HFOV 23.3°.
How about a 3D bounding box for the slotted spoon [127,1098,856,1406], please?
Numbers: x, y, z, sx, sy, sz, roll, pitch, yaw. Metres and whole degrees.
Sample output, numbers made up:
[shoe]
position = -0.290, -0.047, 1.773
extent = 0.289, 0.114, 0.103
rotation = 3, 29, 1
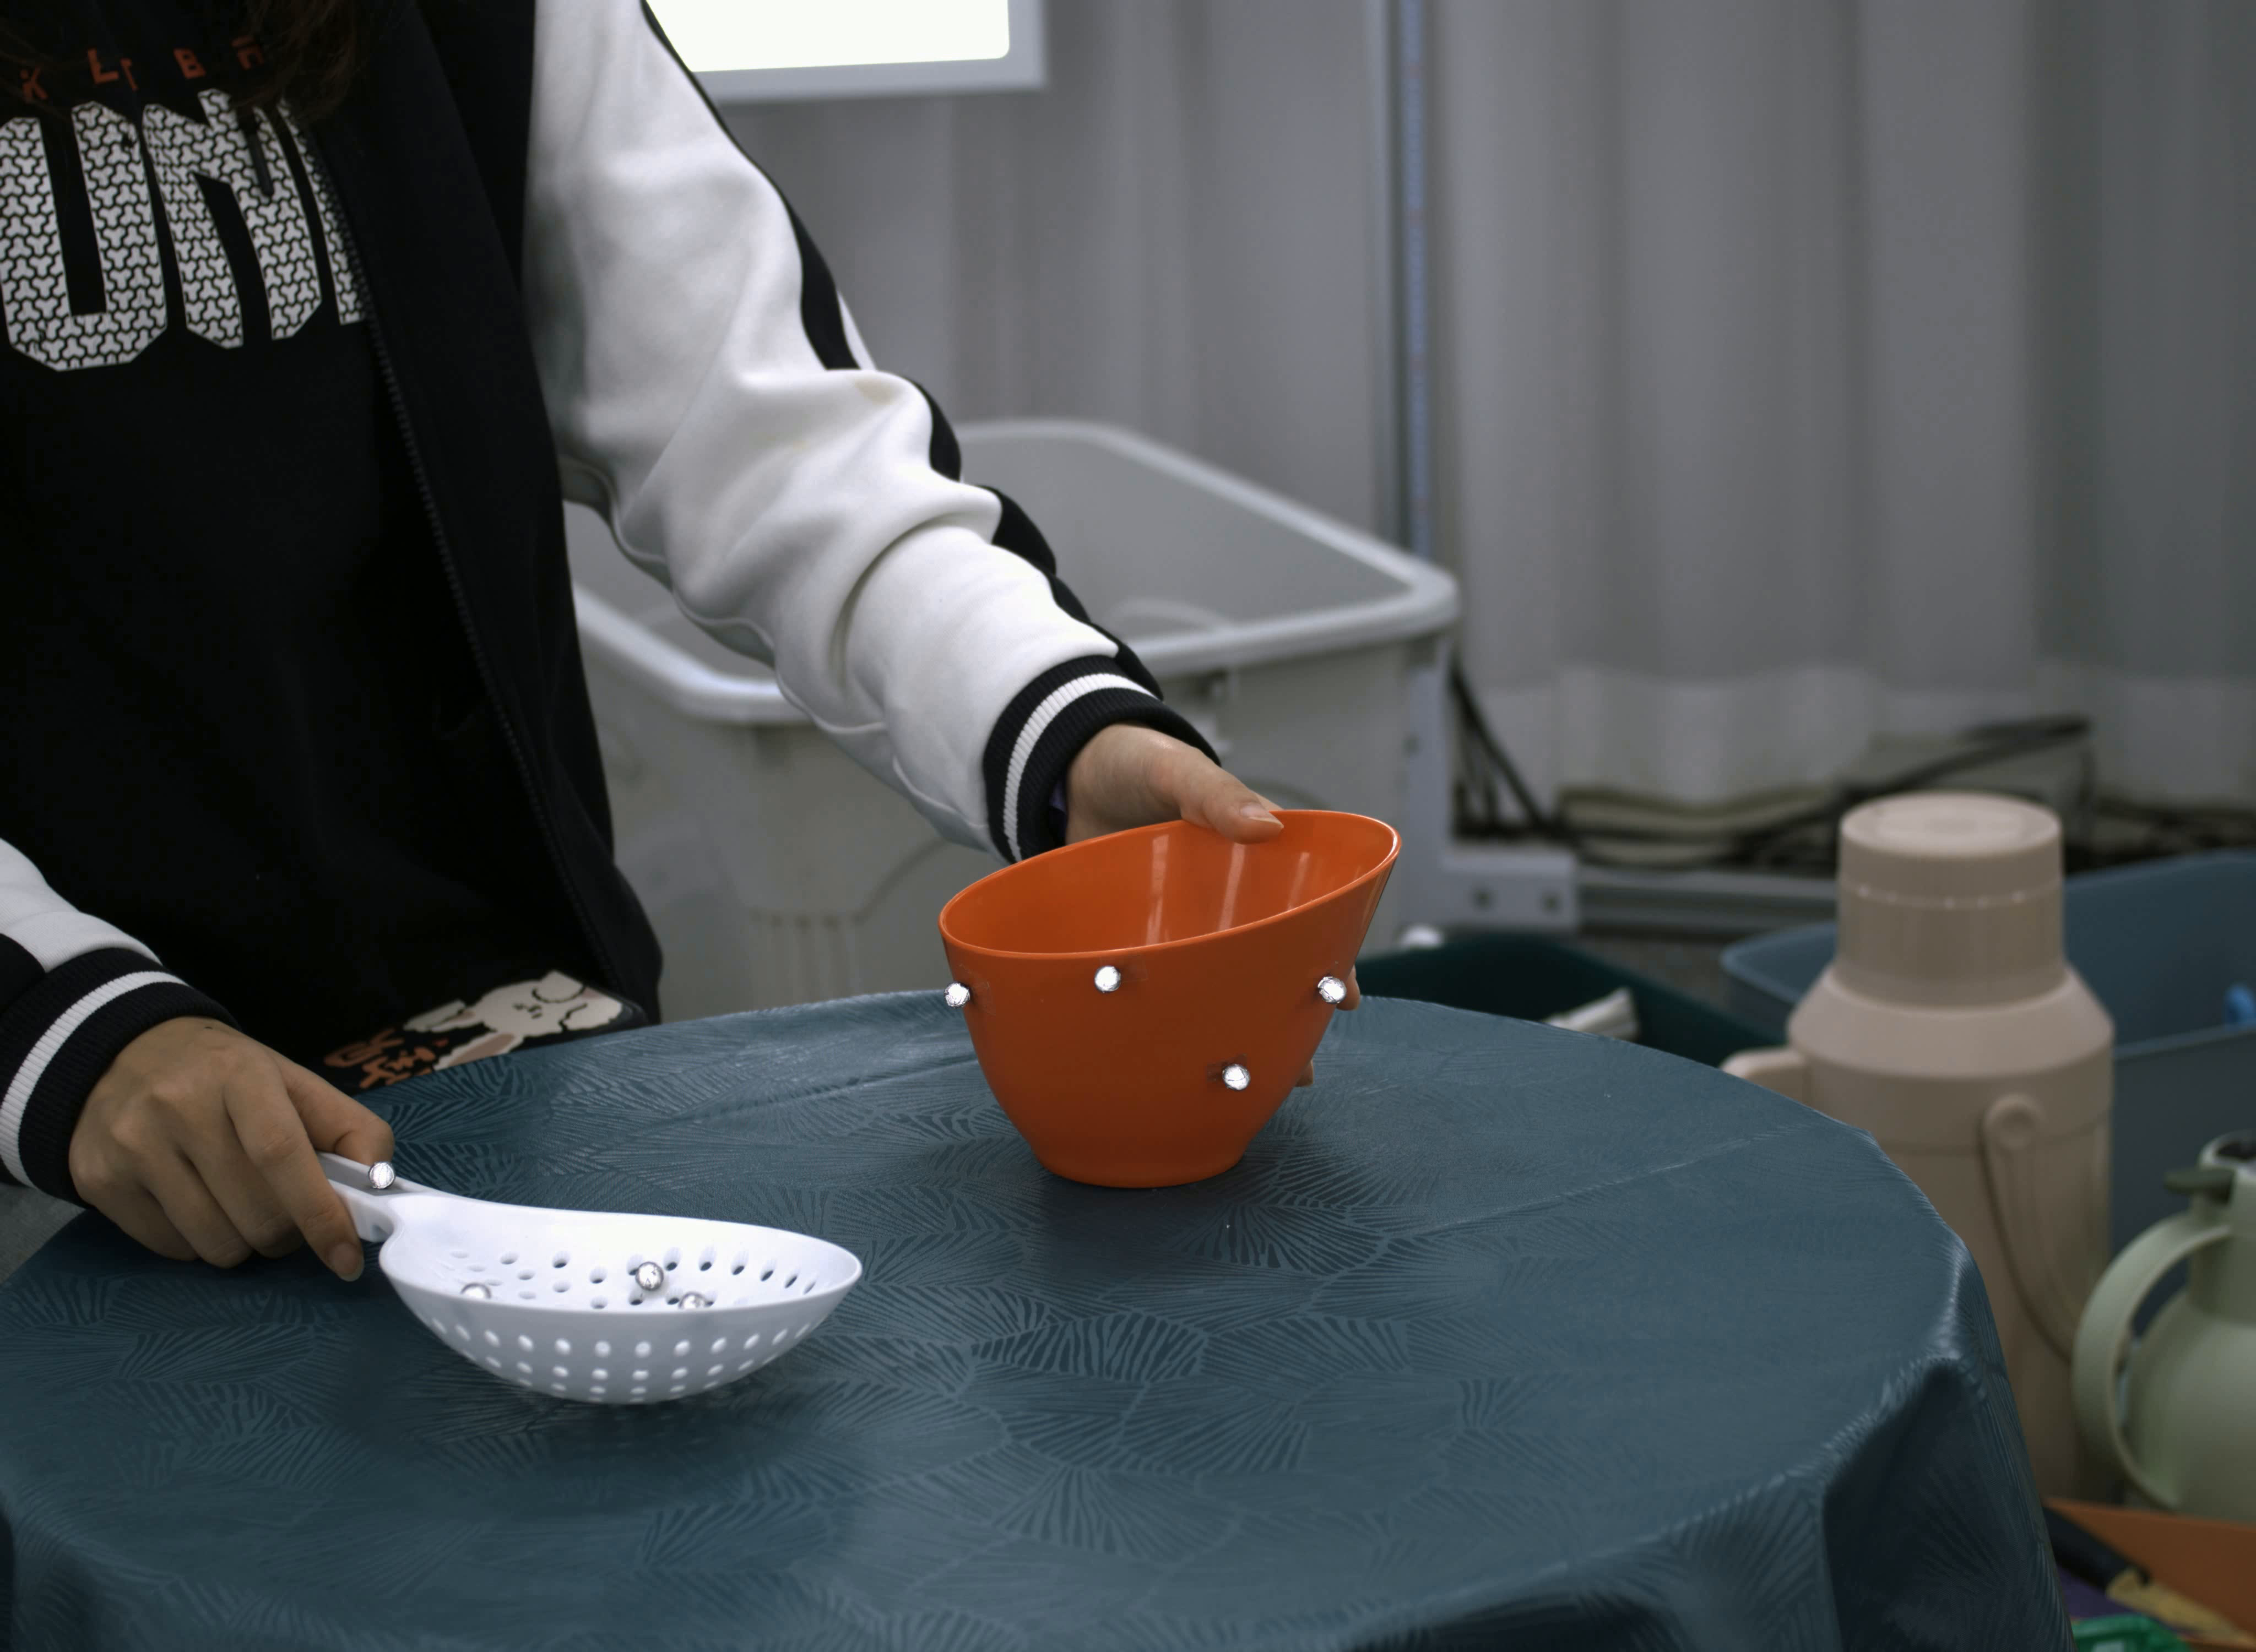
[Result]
[slotted spoon]
position = -0.210, 0.118, 1.636
extent = 0.135, 0.045, 0.352
rotation = -3, 13, -37

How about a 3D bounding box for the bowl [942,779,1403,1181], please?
[bowl]
position = 0.017, 0.052, 1.727
extent = 0.147, 0.104, 0.149
rotation = -5, 21, 2
